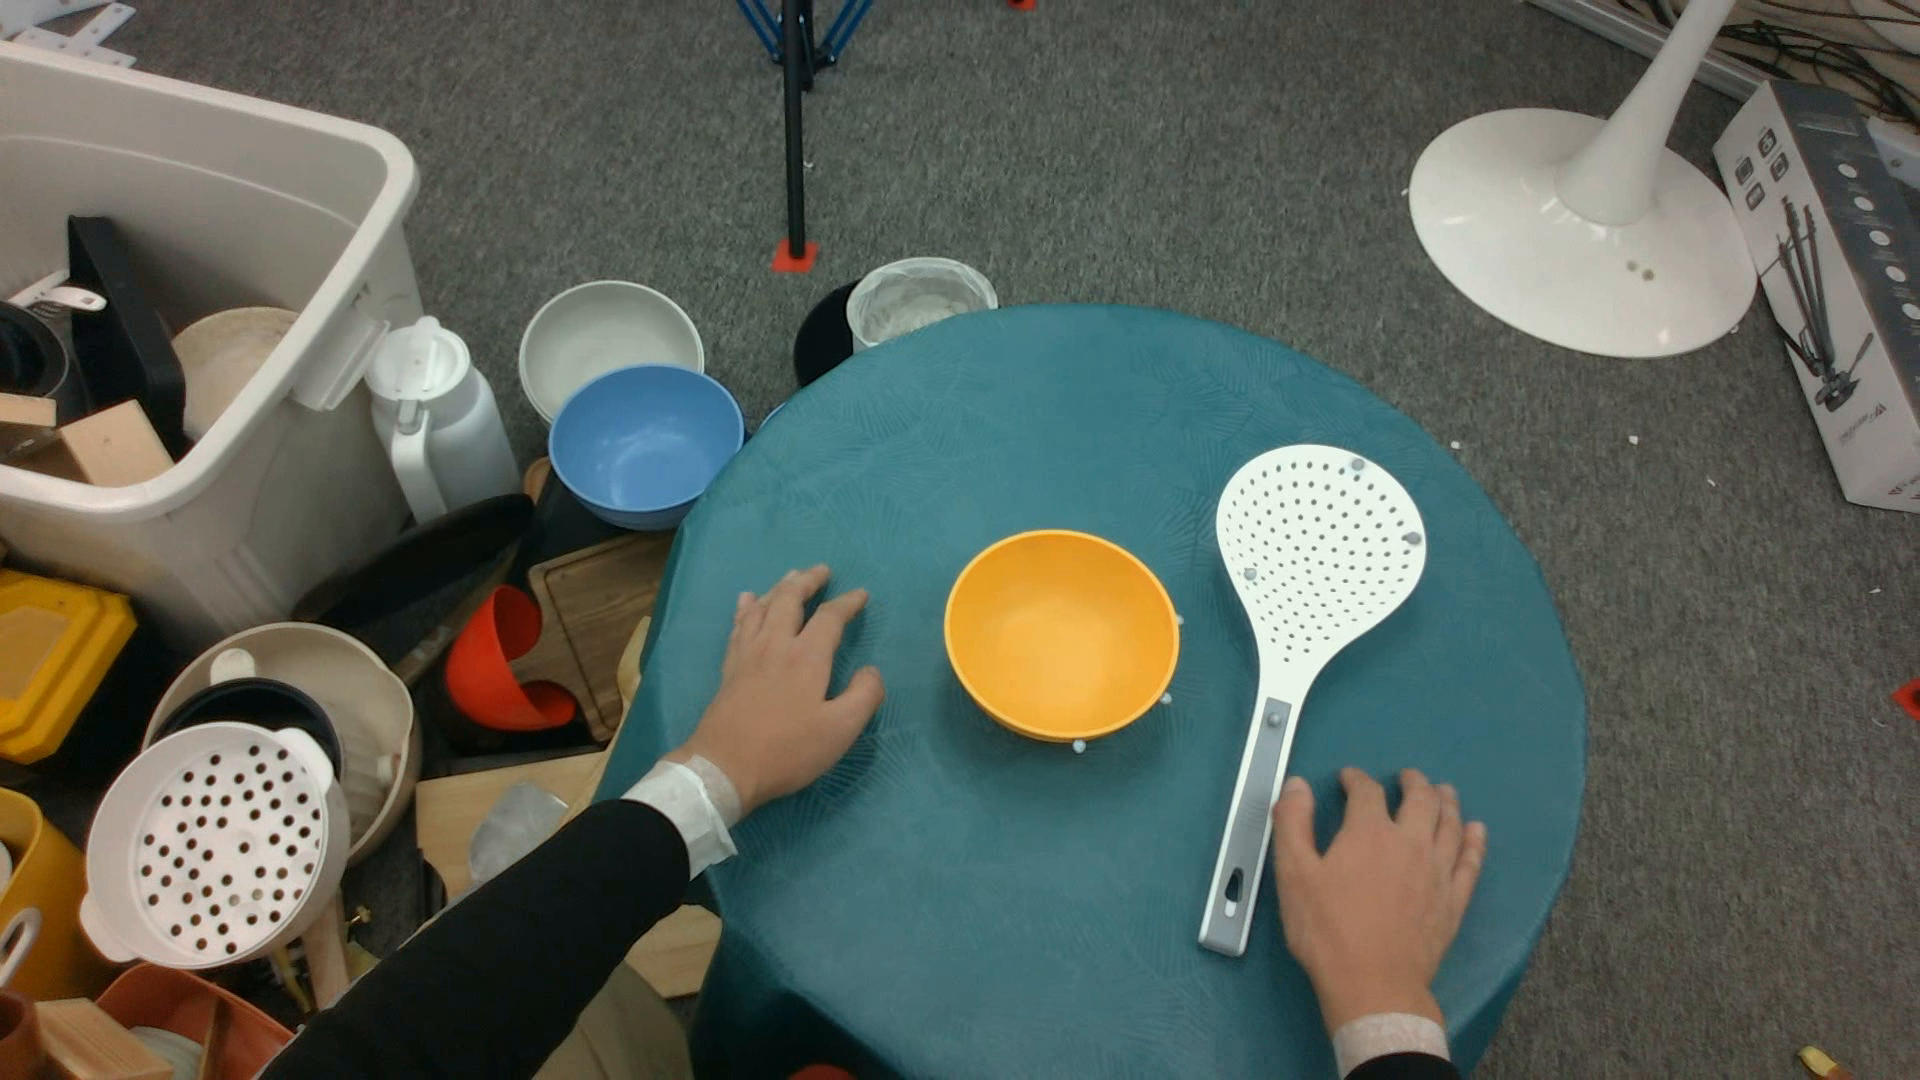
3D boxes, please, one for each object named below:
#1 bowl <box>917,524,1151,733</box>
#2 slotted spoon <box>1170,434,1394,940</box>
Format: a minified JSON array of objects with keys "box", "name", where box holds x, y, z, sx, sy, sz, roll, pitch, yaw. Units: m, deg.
[{"box":[0.043,0.064,0.857,0.145,0.060,0.146,3,54,-4],"name":"bowl"},{"box":[0.187,0.081,0.868,0.136,0.045,0.351,17,58,6],"name":"slotted spoon"}]
